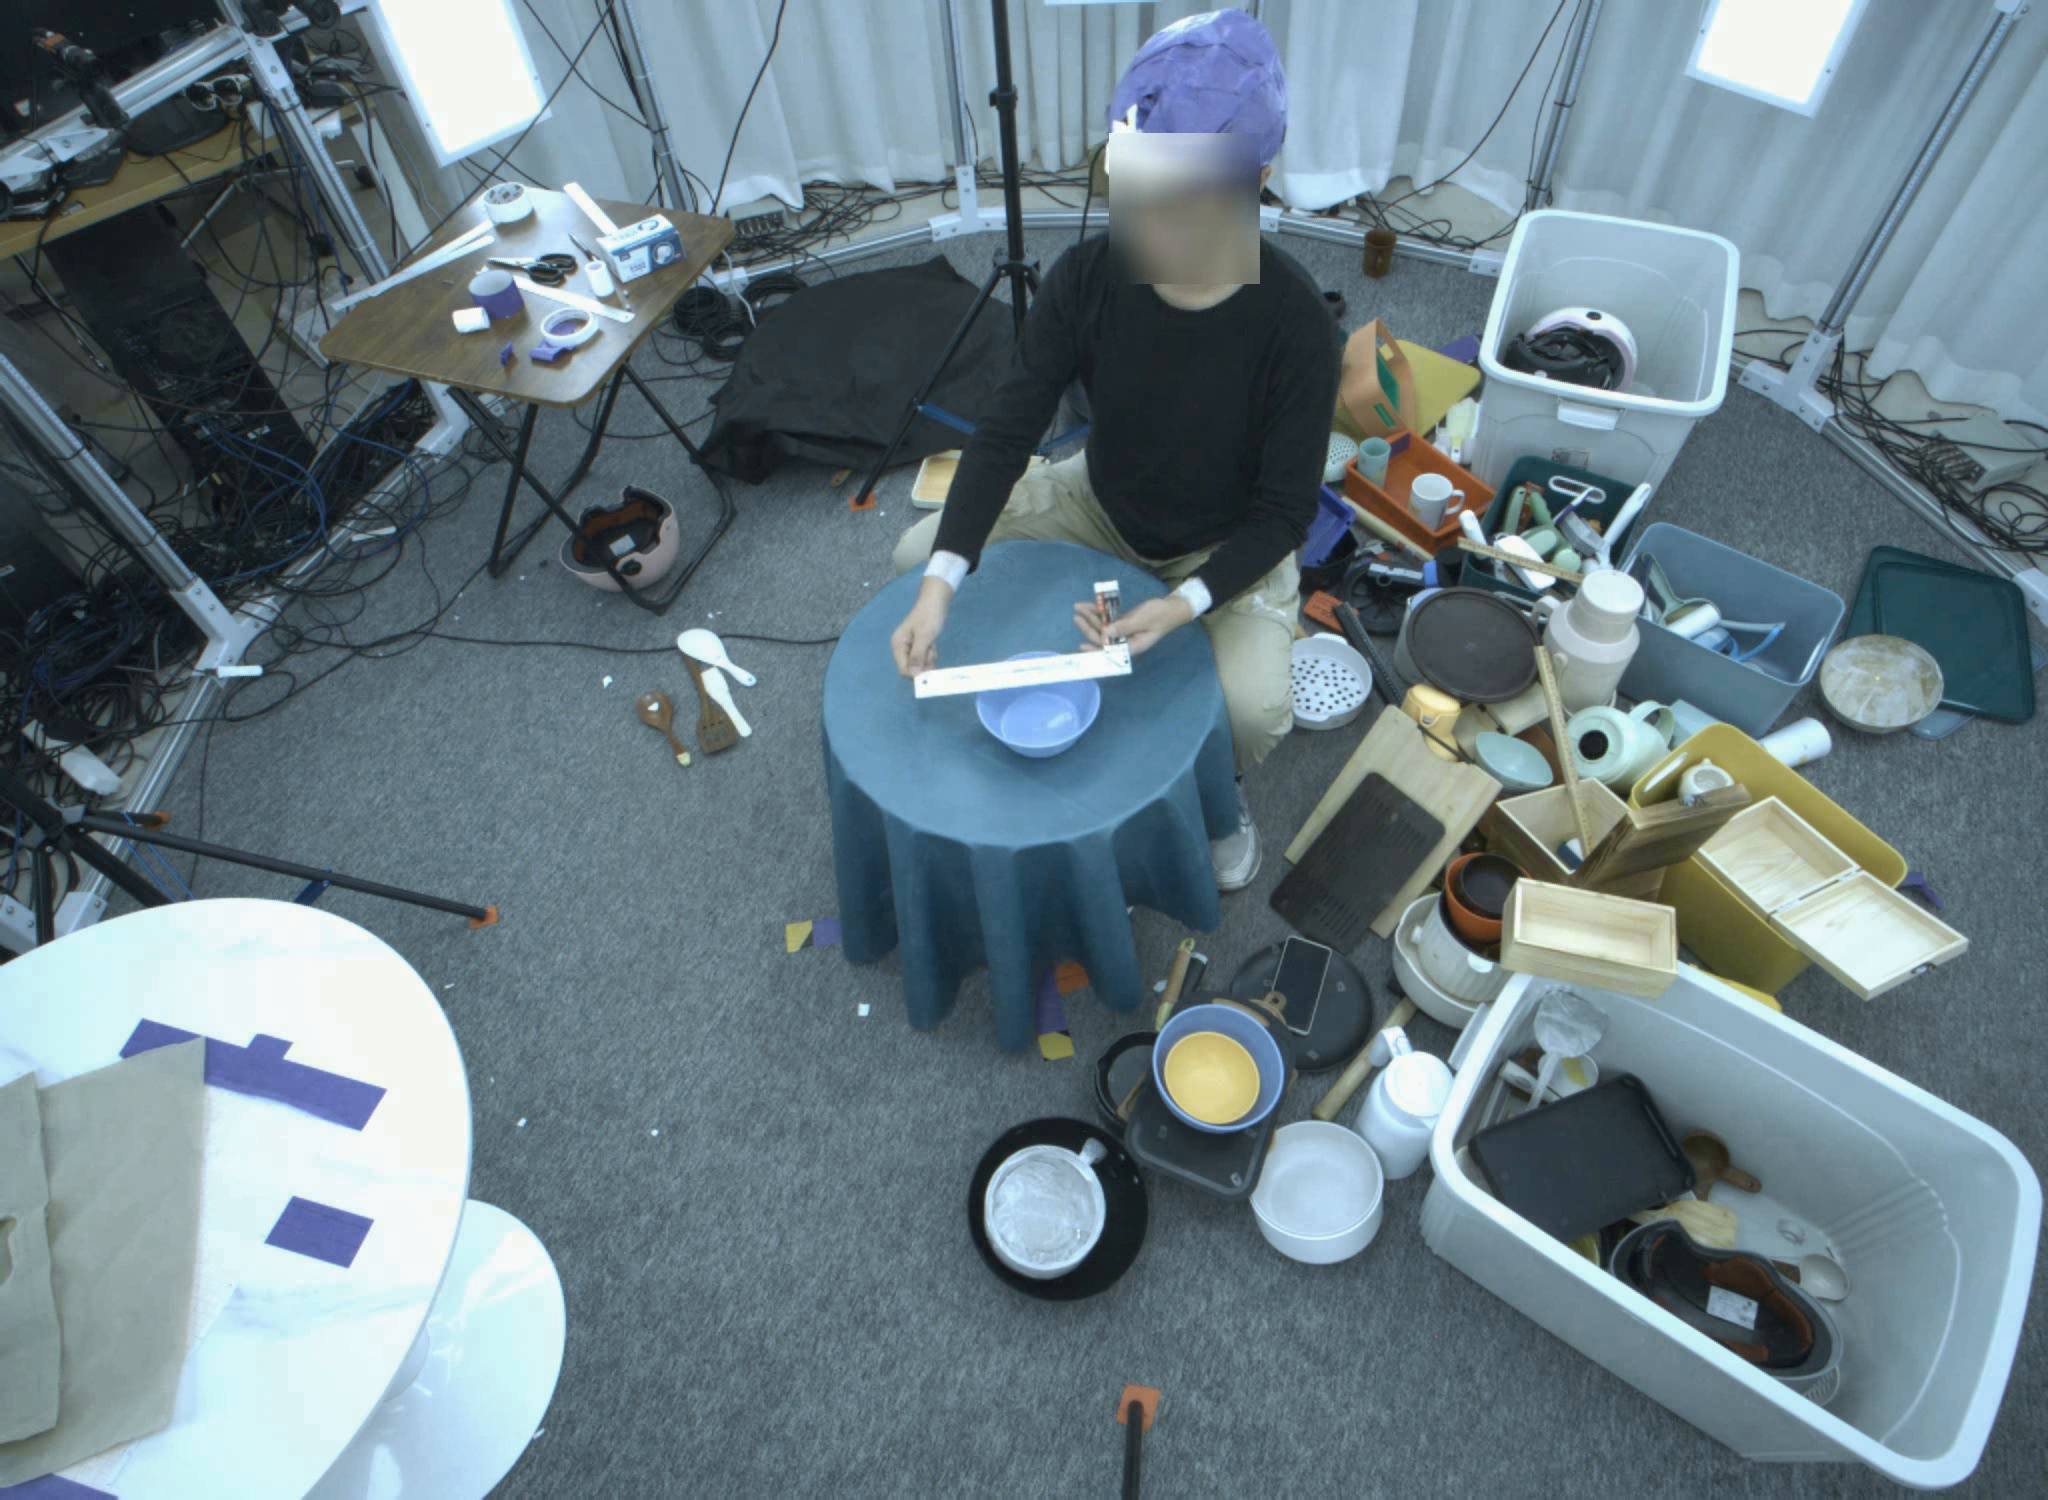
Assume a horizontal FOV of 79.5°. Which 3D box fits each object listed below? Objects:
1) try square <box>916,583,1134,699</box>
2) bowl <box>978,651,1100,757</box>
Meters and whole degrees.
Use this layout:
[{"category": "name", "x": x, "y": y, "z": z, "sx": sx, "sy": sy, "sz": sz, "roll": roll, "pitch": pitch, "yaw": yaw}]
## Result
[{"category": "try square", "x": -0.004, "y": -0.159, "z": 1.777, "sx": 0.313, "sy": 0.016, "sz": 0.150, "roll": -7, "pitch": 65, "yaw": -3}, {"category": "bowl", "x": 0.023, "y": -0.056, "z": 1.784, "sx": 0.176, "sy": 0.071, "sz": 0.174, "roll": -1, "pitch": 55, "yaw": 2}]
